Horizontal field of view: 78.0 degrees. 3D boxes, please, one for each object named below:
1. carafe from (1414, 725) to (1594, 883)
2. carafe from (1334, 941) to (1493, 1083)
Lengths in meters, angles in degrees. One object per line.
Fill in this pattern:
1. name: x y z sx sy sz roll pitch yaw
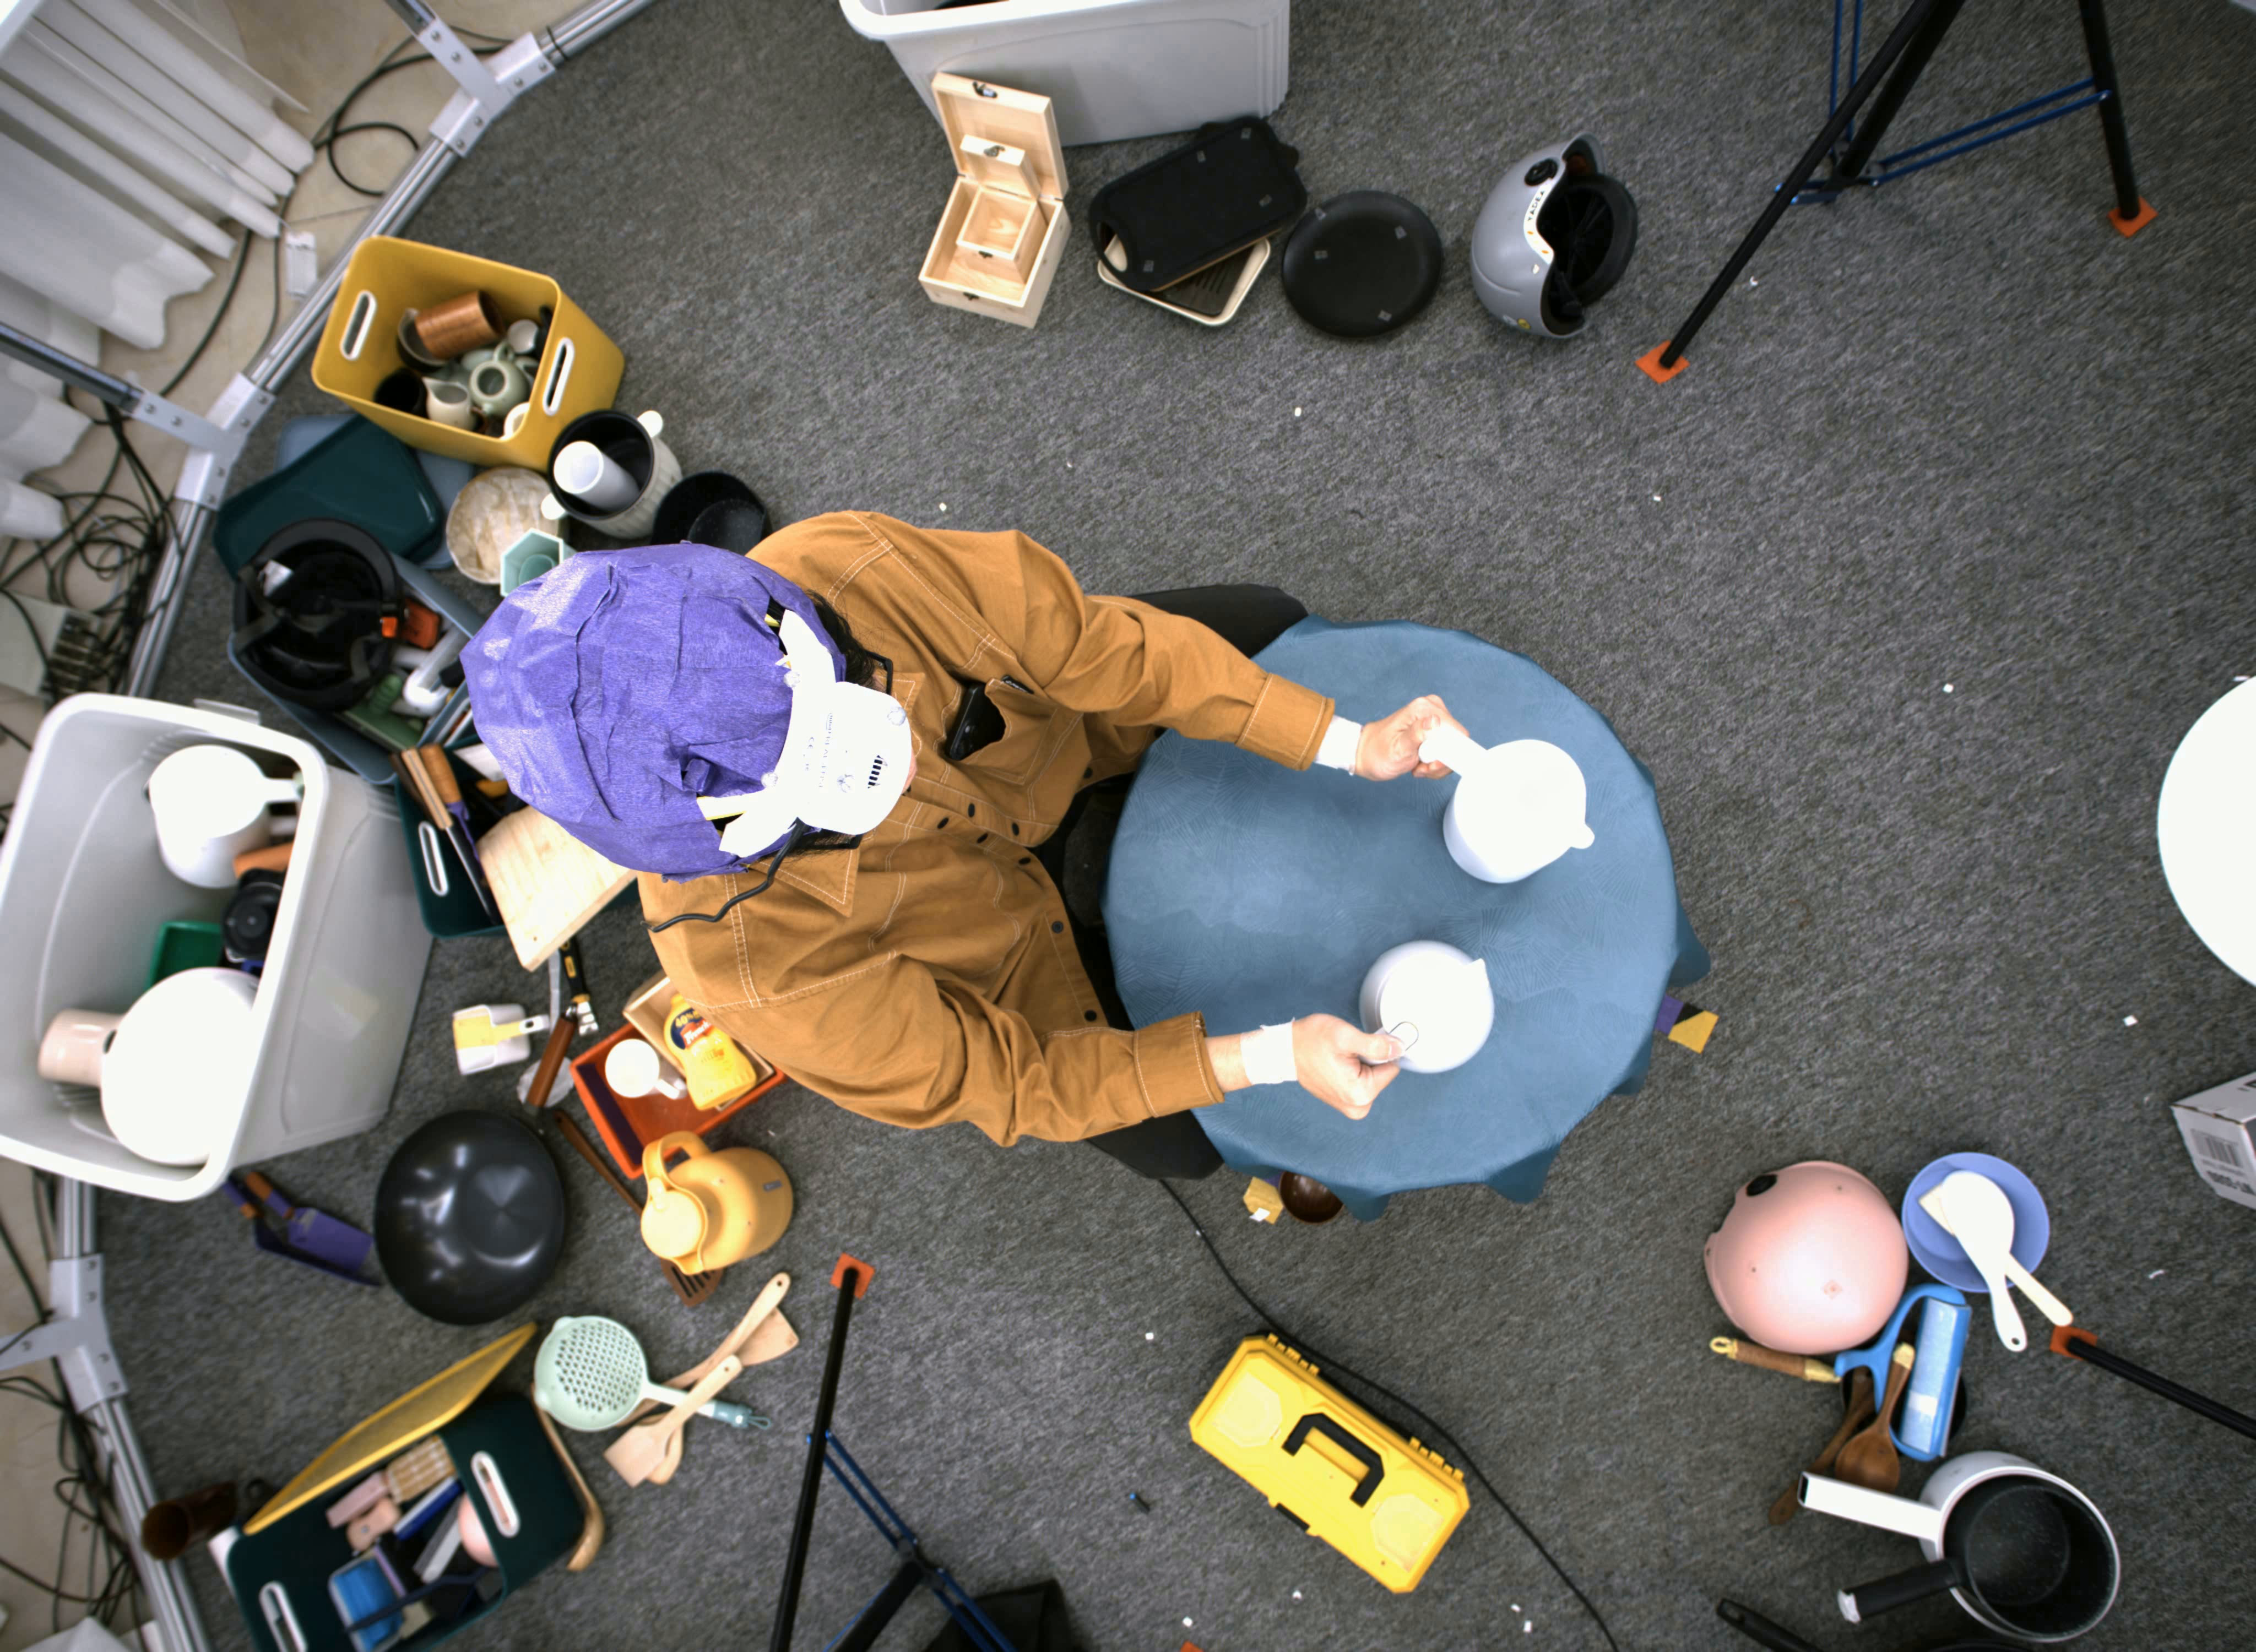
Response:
1. carafe: 0.352 -0.022 1.315 0.172 0.268 0.124 36 94 11
2. carafe: 0.273 0.186 1.329 0.168 0.249 0.132 -39 79 6
